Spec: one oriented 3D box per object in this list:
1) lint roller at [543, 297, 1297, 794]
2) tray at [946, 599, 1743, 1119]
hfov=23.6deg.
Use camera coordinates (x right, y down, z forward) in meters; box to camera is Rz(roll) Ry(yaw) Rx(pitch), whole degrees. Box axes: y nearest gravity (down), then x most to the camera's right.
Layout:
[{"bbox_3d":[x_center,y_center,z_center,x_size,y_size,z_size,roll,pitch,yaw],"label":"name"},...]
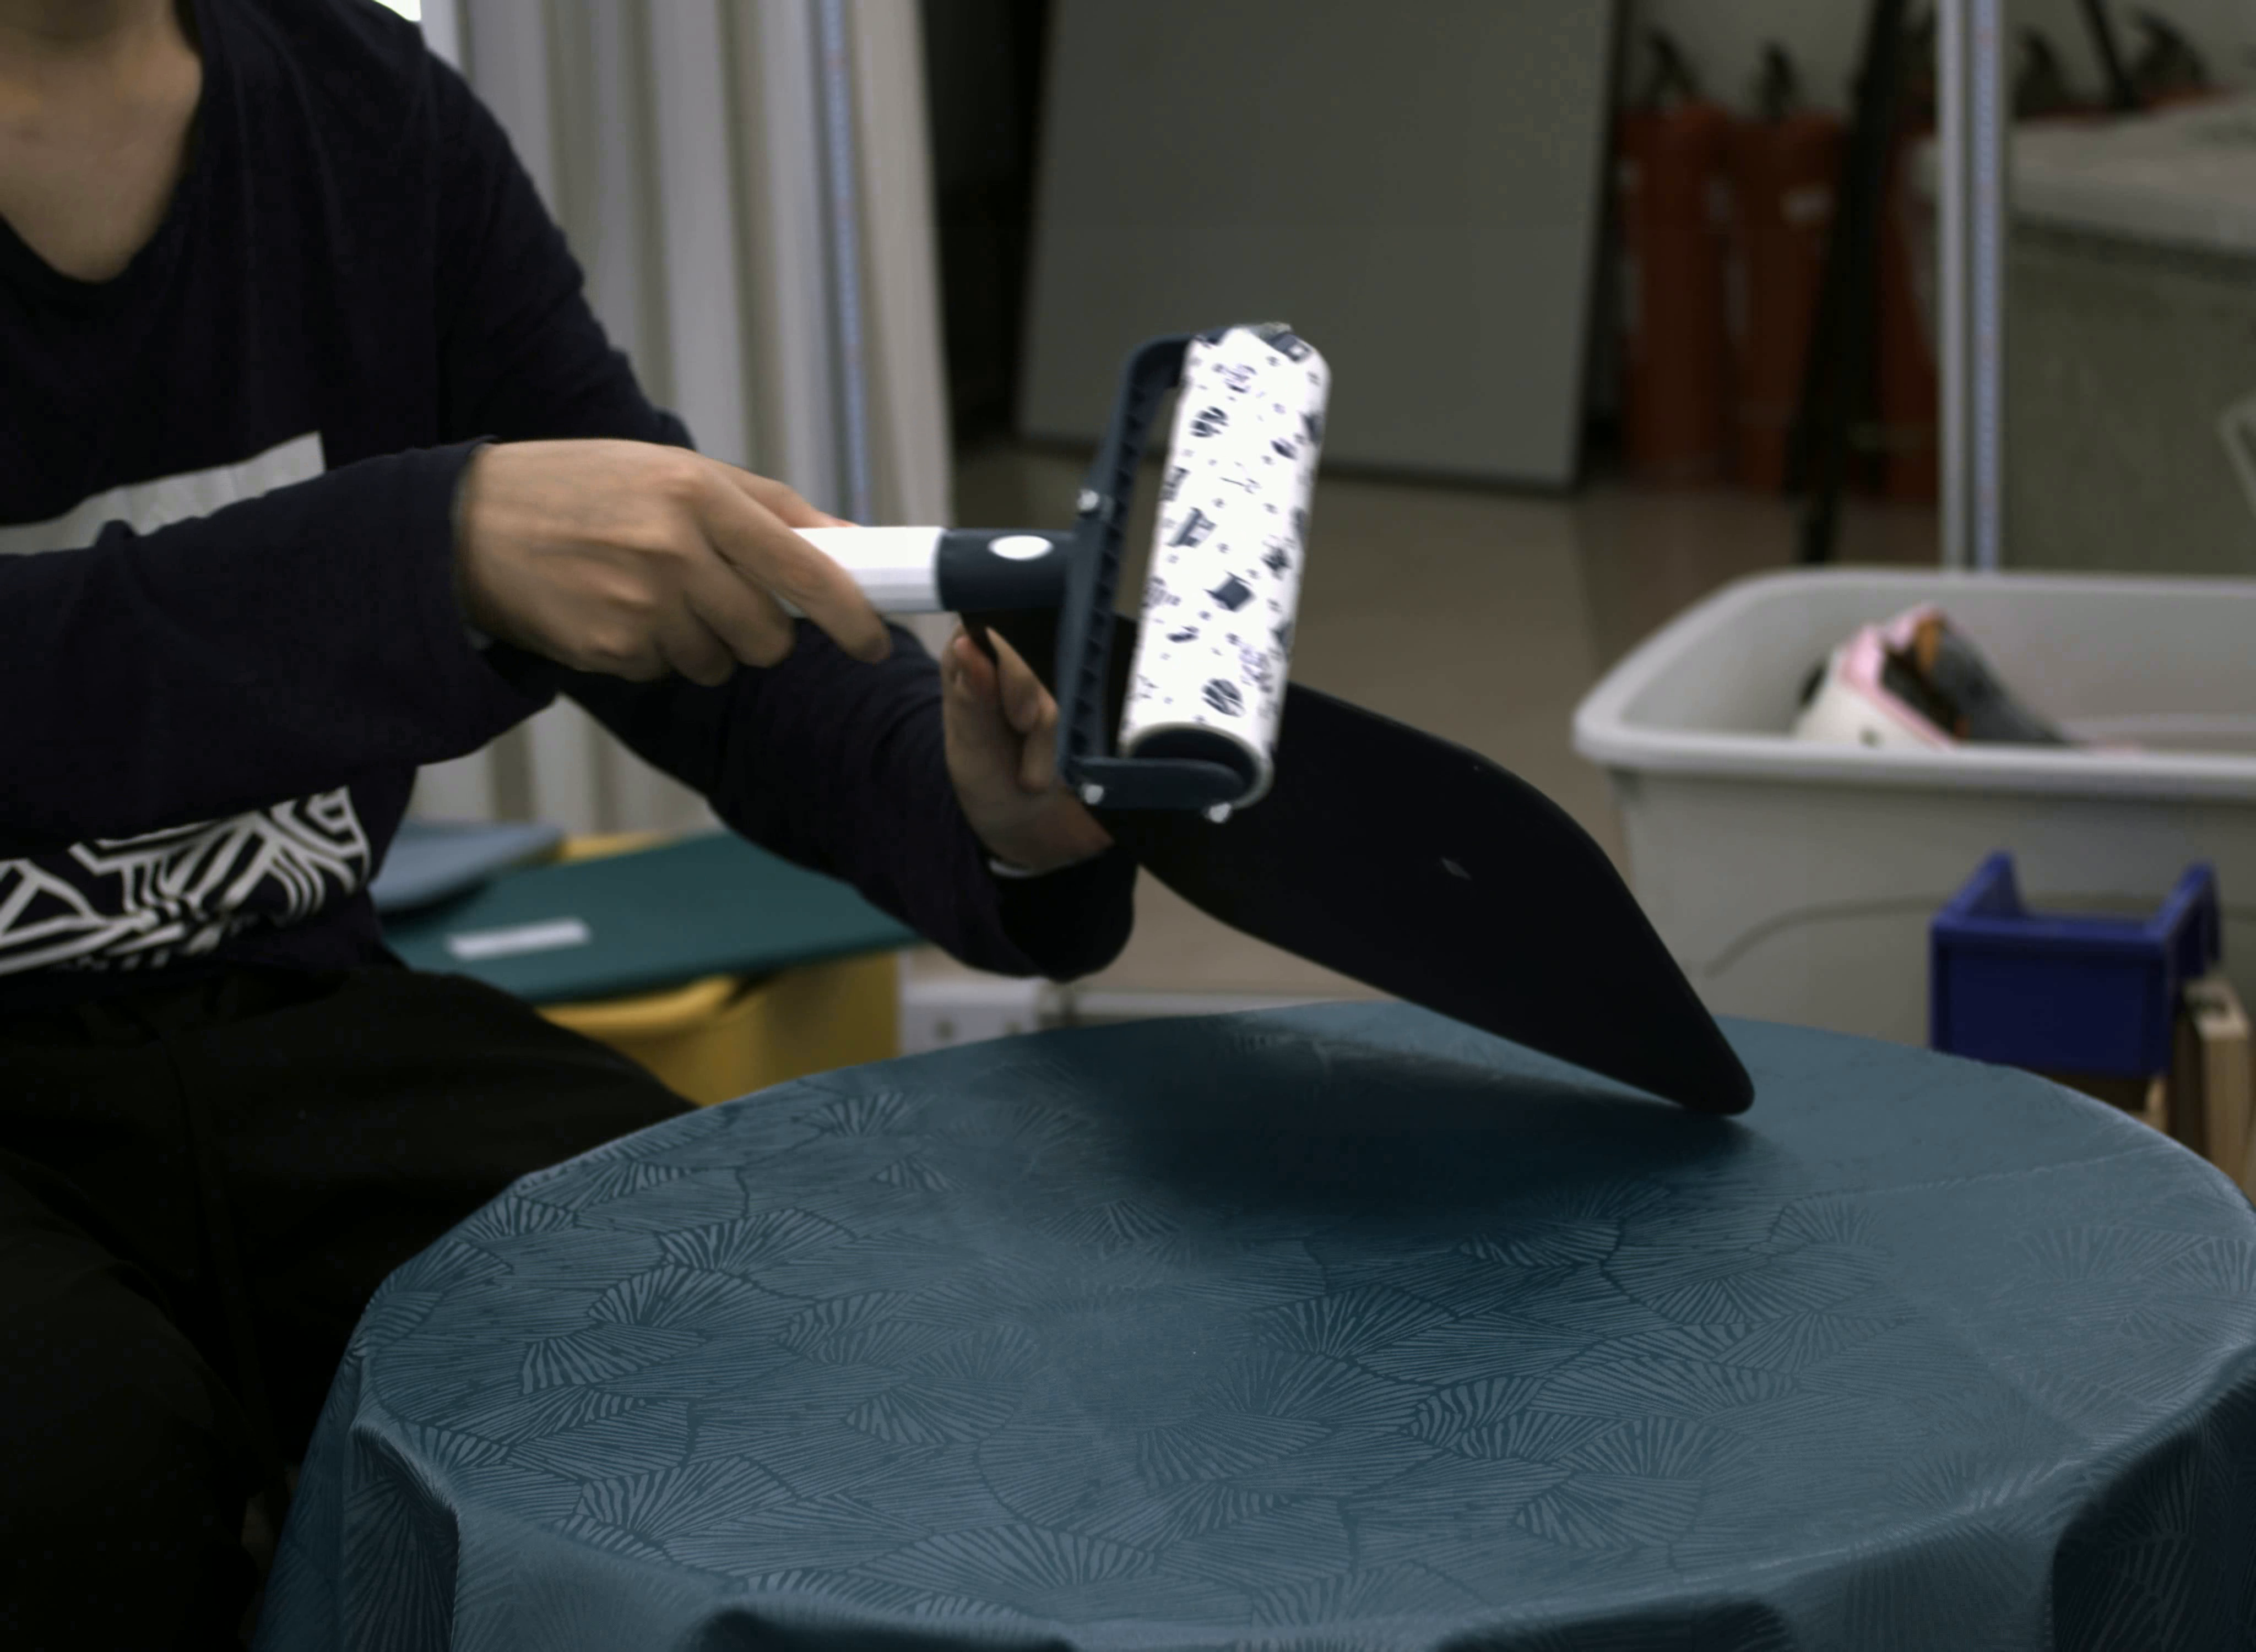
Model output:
[{"bbox_3d":[-0.073,-0.084,1.715,0.246,0.050,0.177,-2,54,17],"label":"lint roller"},{"bbox_3d":[0.064,-0.001,1.833,0.329,0.209,0.010,22,66,44],"label":"tray"}]
